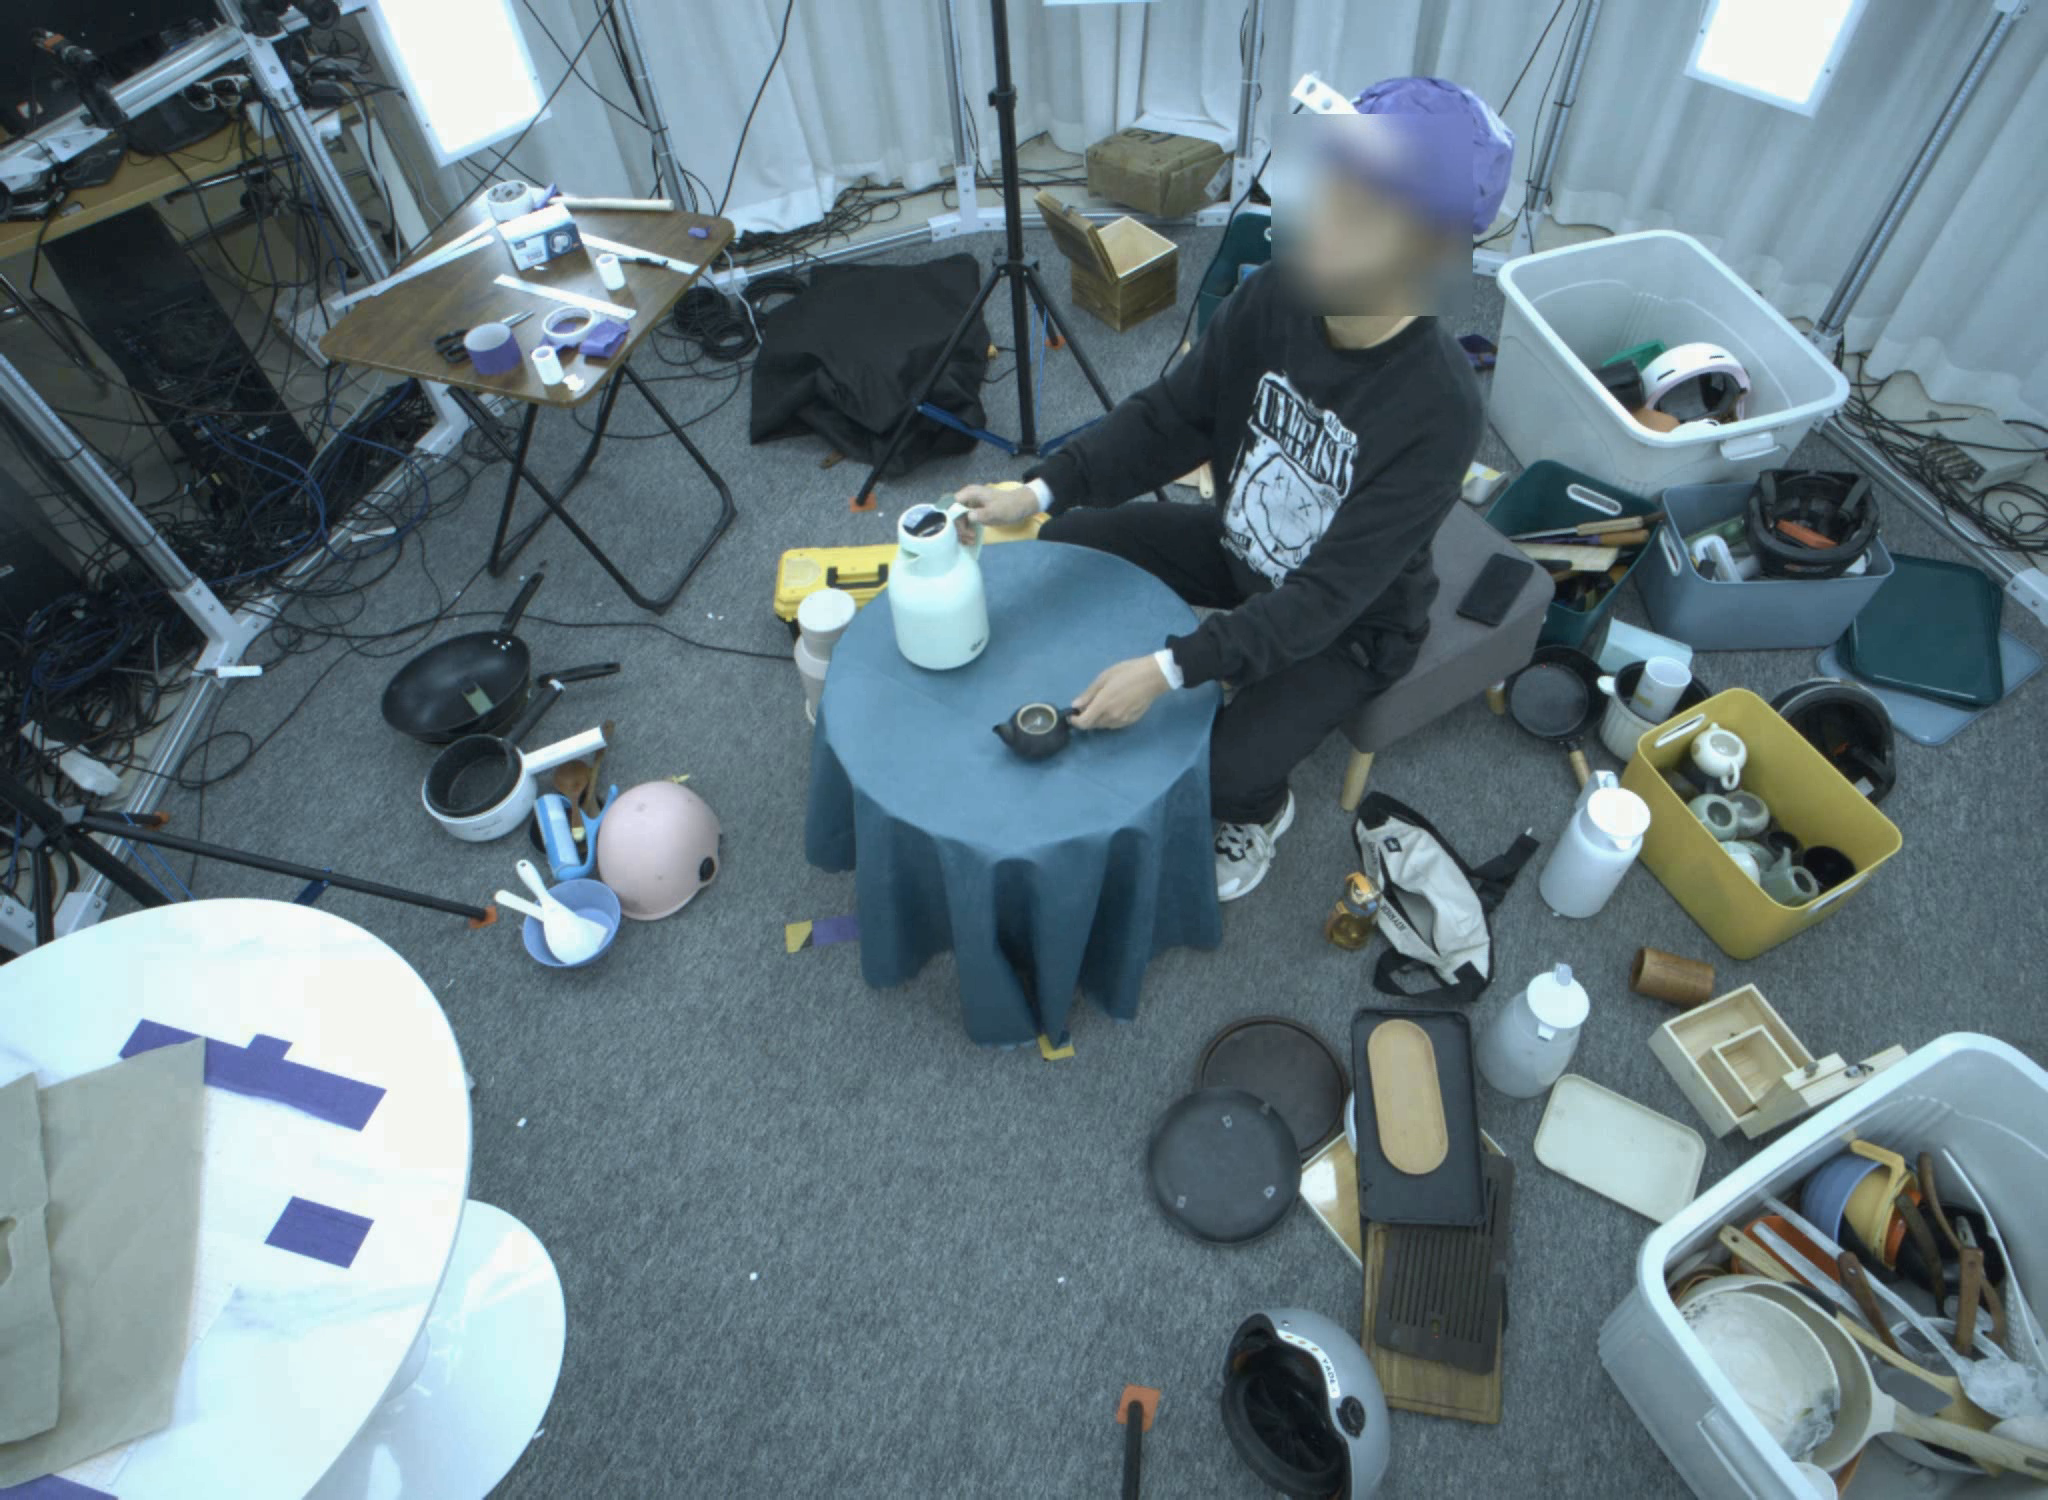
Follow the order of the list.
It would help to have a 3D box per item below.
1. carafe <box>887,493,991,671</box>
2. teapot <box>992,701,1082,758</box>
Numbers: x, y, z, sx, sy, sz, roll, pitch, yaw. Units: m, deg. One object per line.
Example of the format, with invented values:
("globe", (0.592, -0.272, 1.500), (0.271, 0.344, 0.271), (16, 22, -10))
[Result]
("carafe", (-0.124, -0.255, 1.815), (0.142, 0.259, 0.187), (26, 56, 22))
("teapot", (0.020, -0.031, 1.771), (0.134, 0.053, 0.089), (-14, 57, -8))
